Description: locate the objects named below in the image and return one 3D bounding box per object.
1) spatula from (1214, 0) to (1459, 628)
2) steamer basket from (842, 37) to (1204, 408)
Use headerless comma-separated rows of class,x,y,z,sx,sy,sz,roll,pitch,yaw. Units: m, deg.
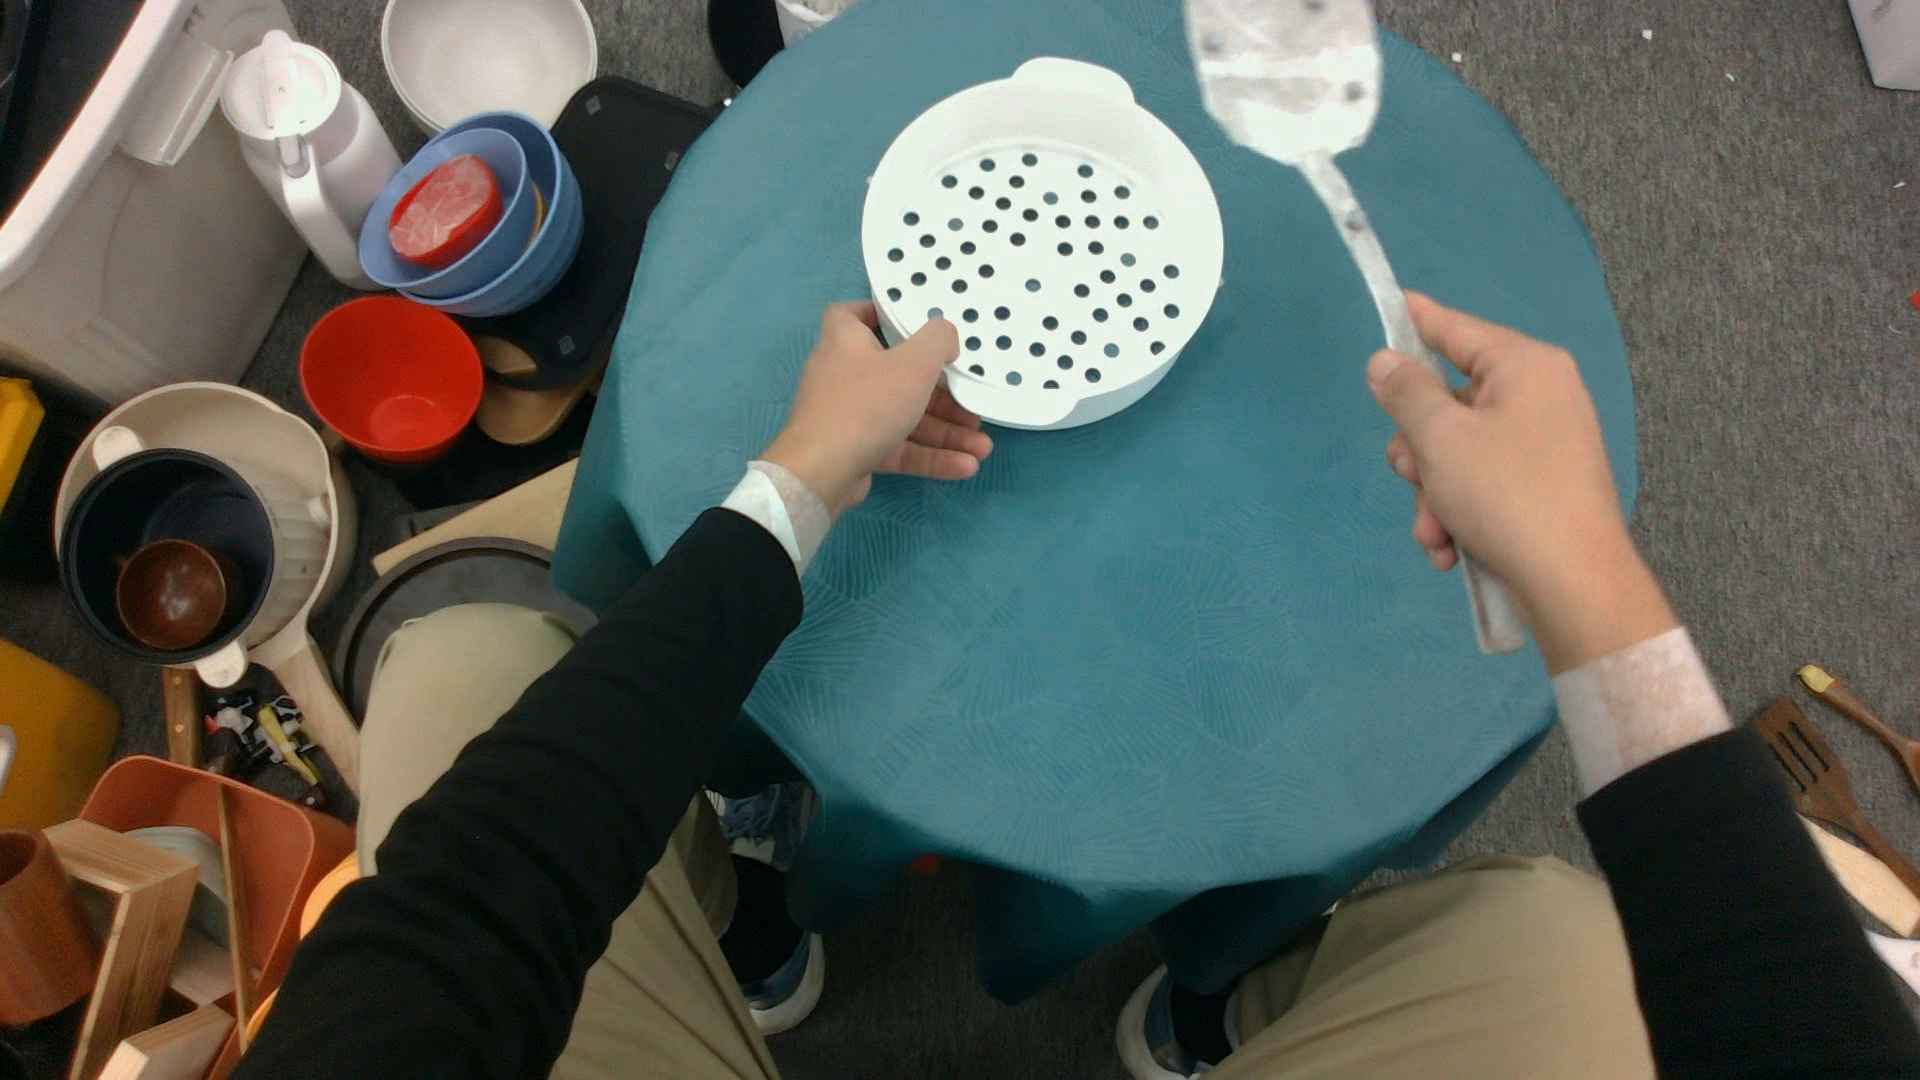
spatula,0.184,-0.130,0.627,0.099,0.044,0.366,2,58,-10
steamer basket,0.034,-0.174,0.790,0.202,0.069,0.231,12,73,1
